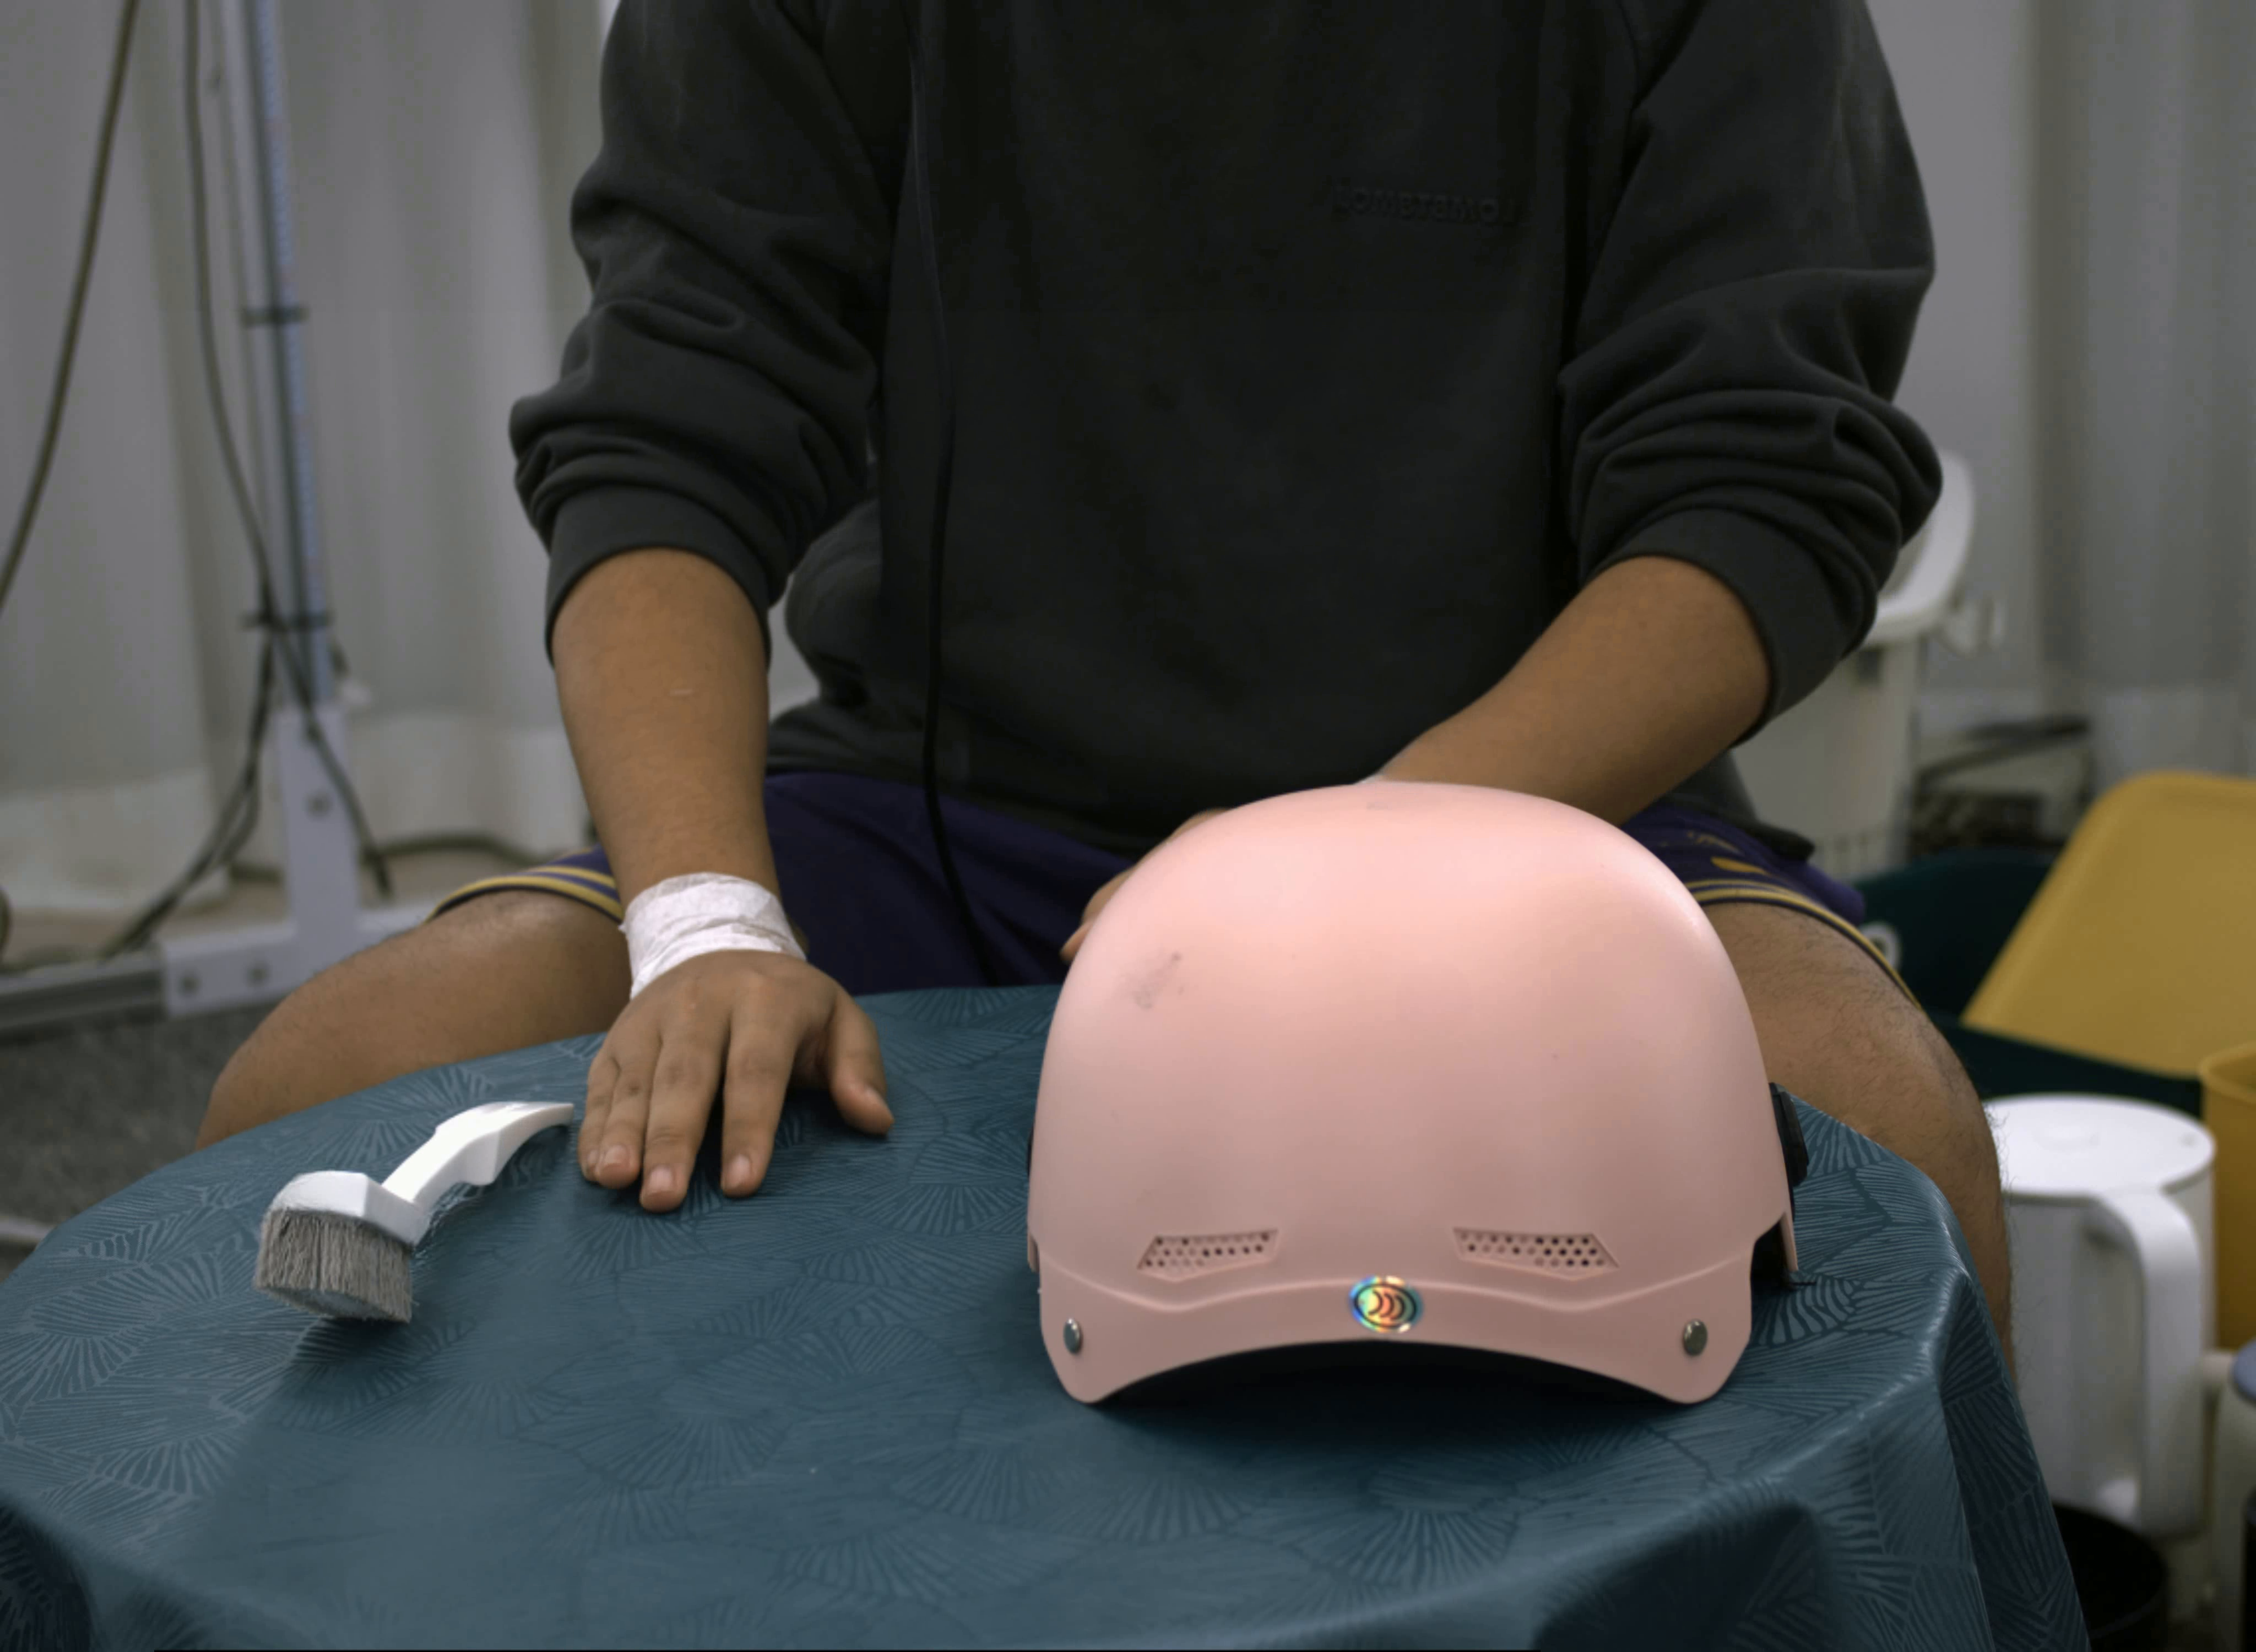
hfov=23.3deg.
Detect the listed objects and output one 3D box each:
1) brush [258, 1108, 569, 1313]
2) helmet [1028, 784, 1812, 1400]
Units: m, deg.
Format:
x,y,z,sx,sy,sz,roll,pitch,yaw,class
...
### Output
x,y,z,sx,sy,sz,roll,pitch,yaw,class
-0.216,0.119,1.699,0.034,0.050,0.243,0,2,10,brush
0.081,0.065,1.597,0.233,0.158,0.267,-2,10,8,helmet
